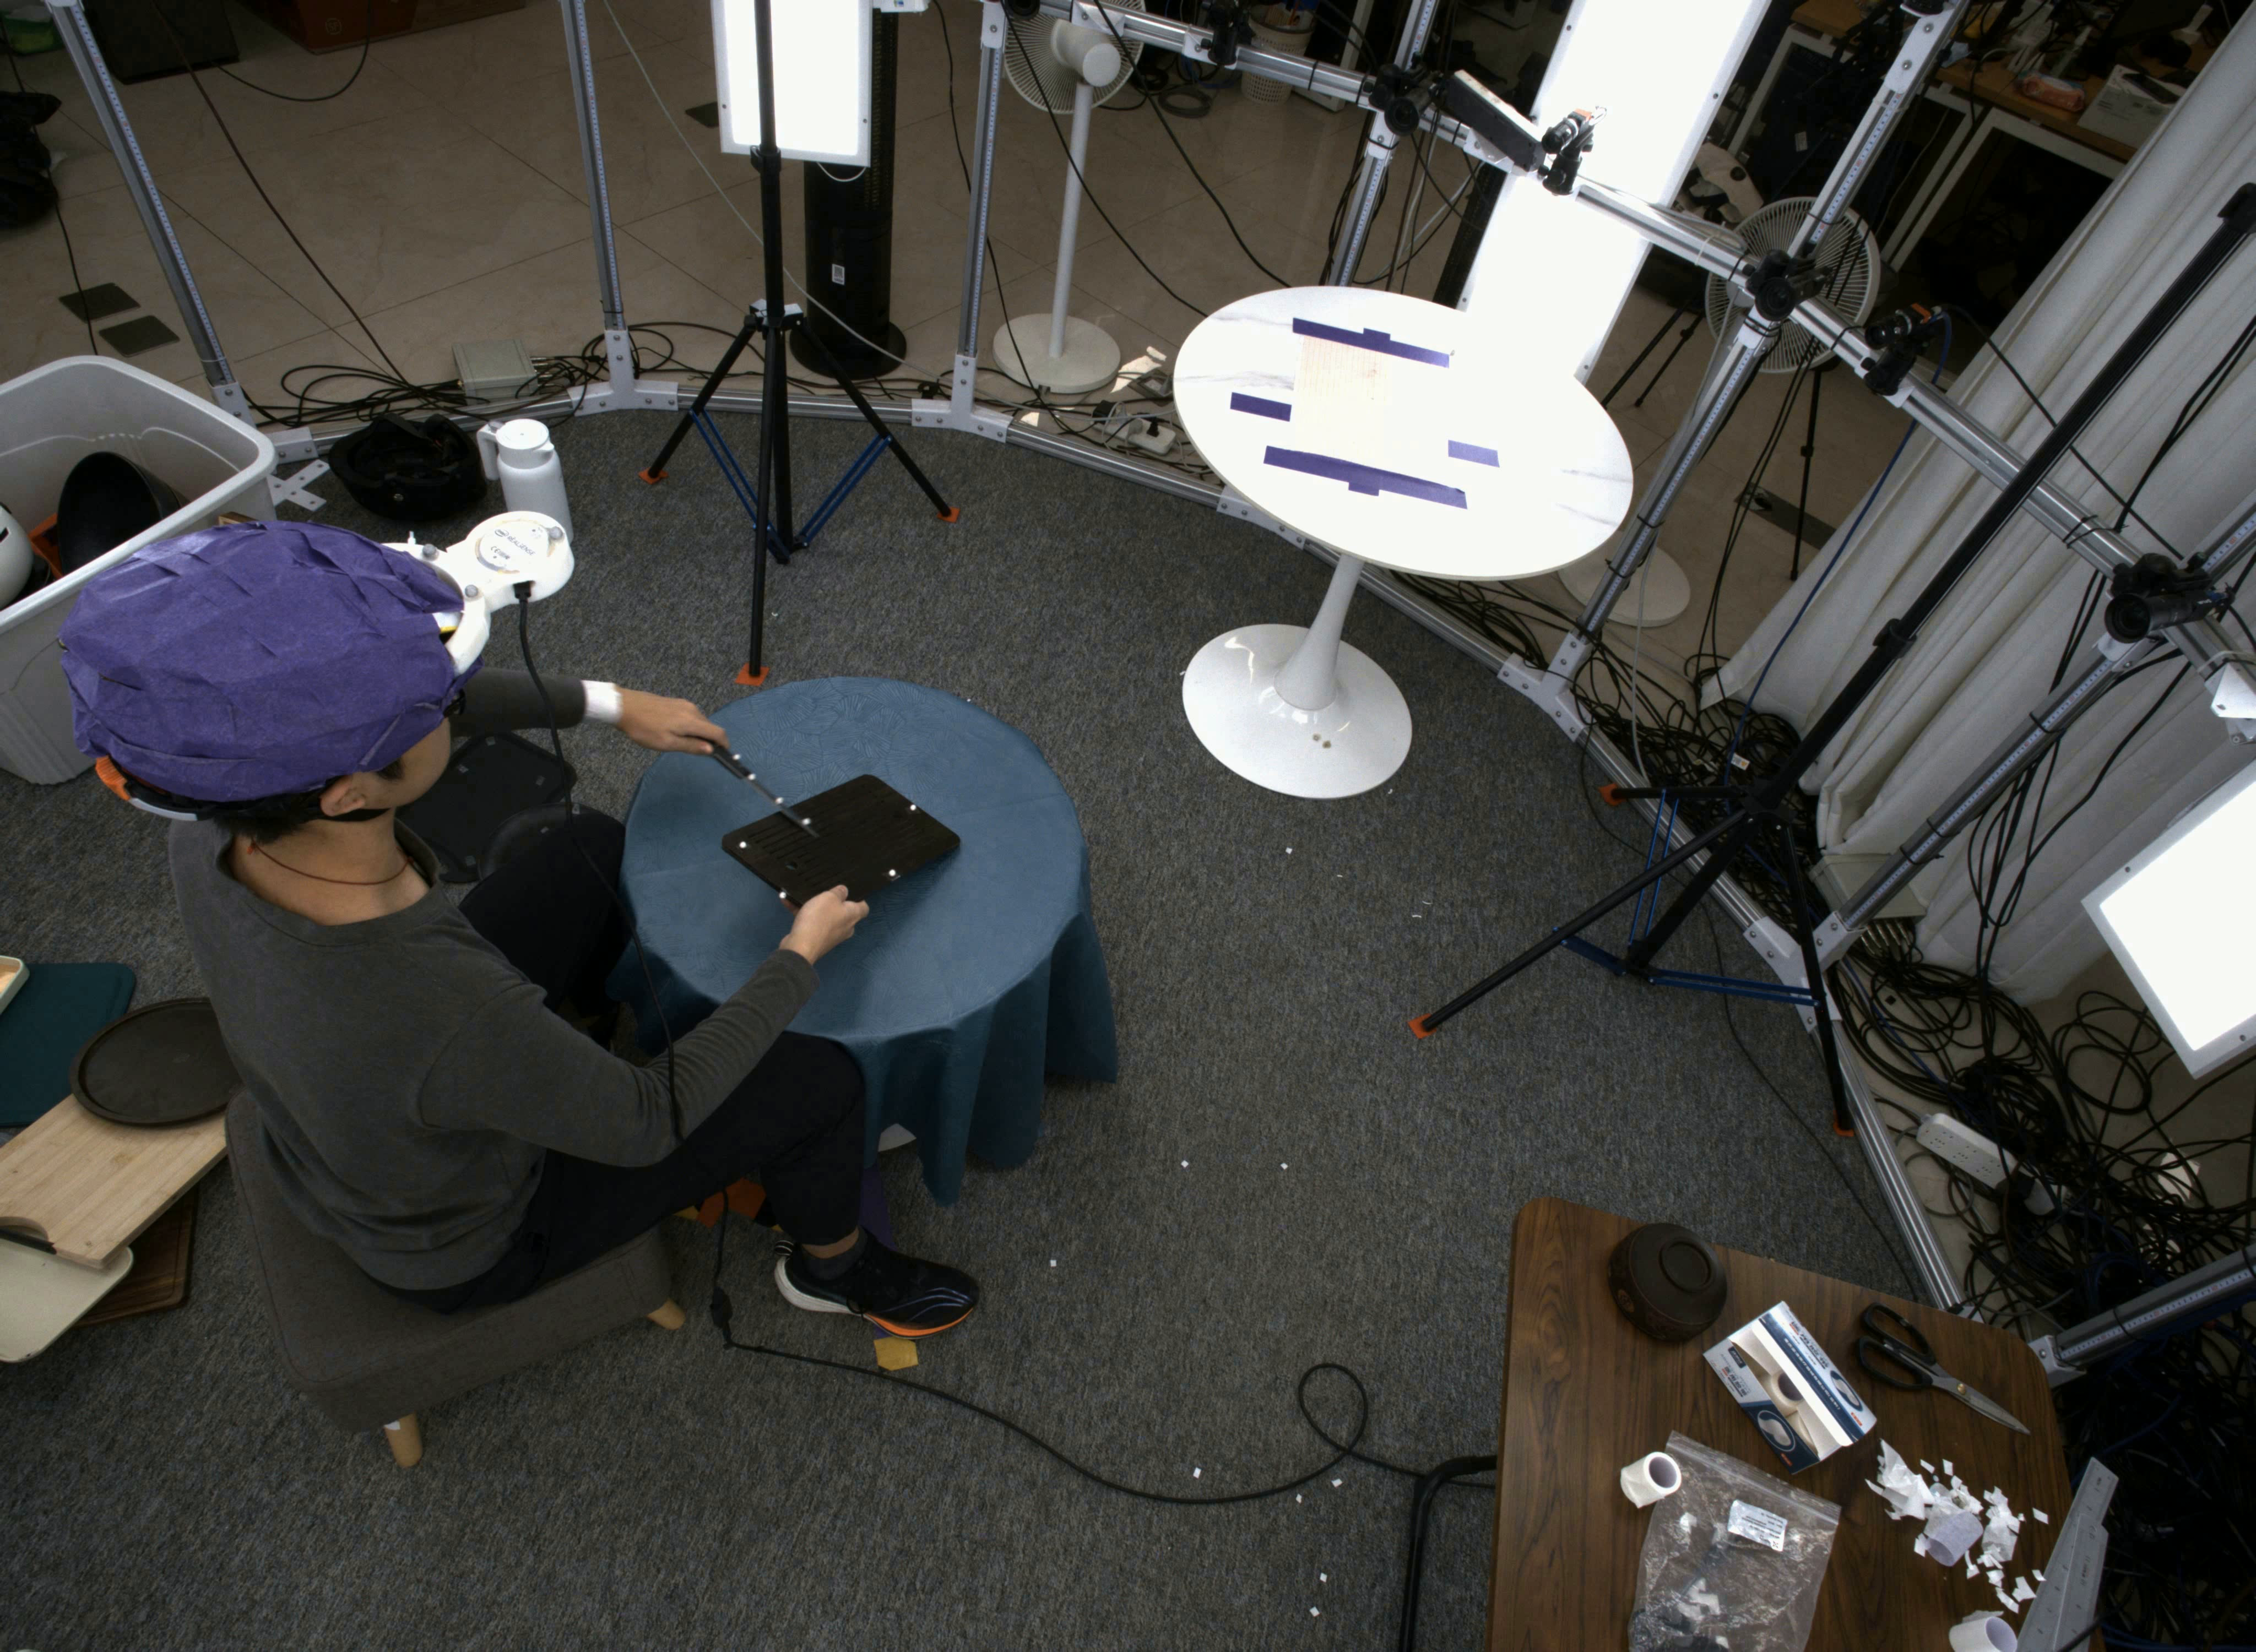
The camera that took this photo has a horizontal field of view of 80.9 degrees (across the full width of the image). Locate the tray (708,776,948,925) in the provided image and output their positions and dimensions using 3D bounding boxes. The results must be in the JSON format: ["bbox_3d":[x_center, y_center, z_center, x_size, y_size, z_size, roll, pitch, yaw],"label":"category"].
[{"bbox_3d":[-0.373,0.025,1.645,0.167,0.019,0.307,35,29,11],"label":"tray"}]

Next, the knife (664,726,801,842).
[{"bbox_3d":[-0.501,-0.054,1.625,0.235,0.016,0.024,38,12,7],"label":"knife"}]
